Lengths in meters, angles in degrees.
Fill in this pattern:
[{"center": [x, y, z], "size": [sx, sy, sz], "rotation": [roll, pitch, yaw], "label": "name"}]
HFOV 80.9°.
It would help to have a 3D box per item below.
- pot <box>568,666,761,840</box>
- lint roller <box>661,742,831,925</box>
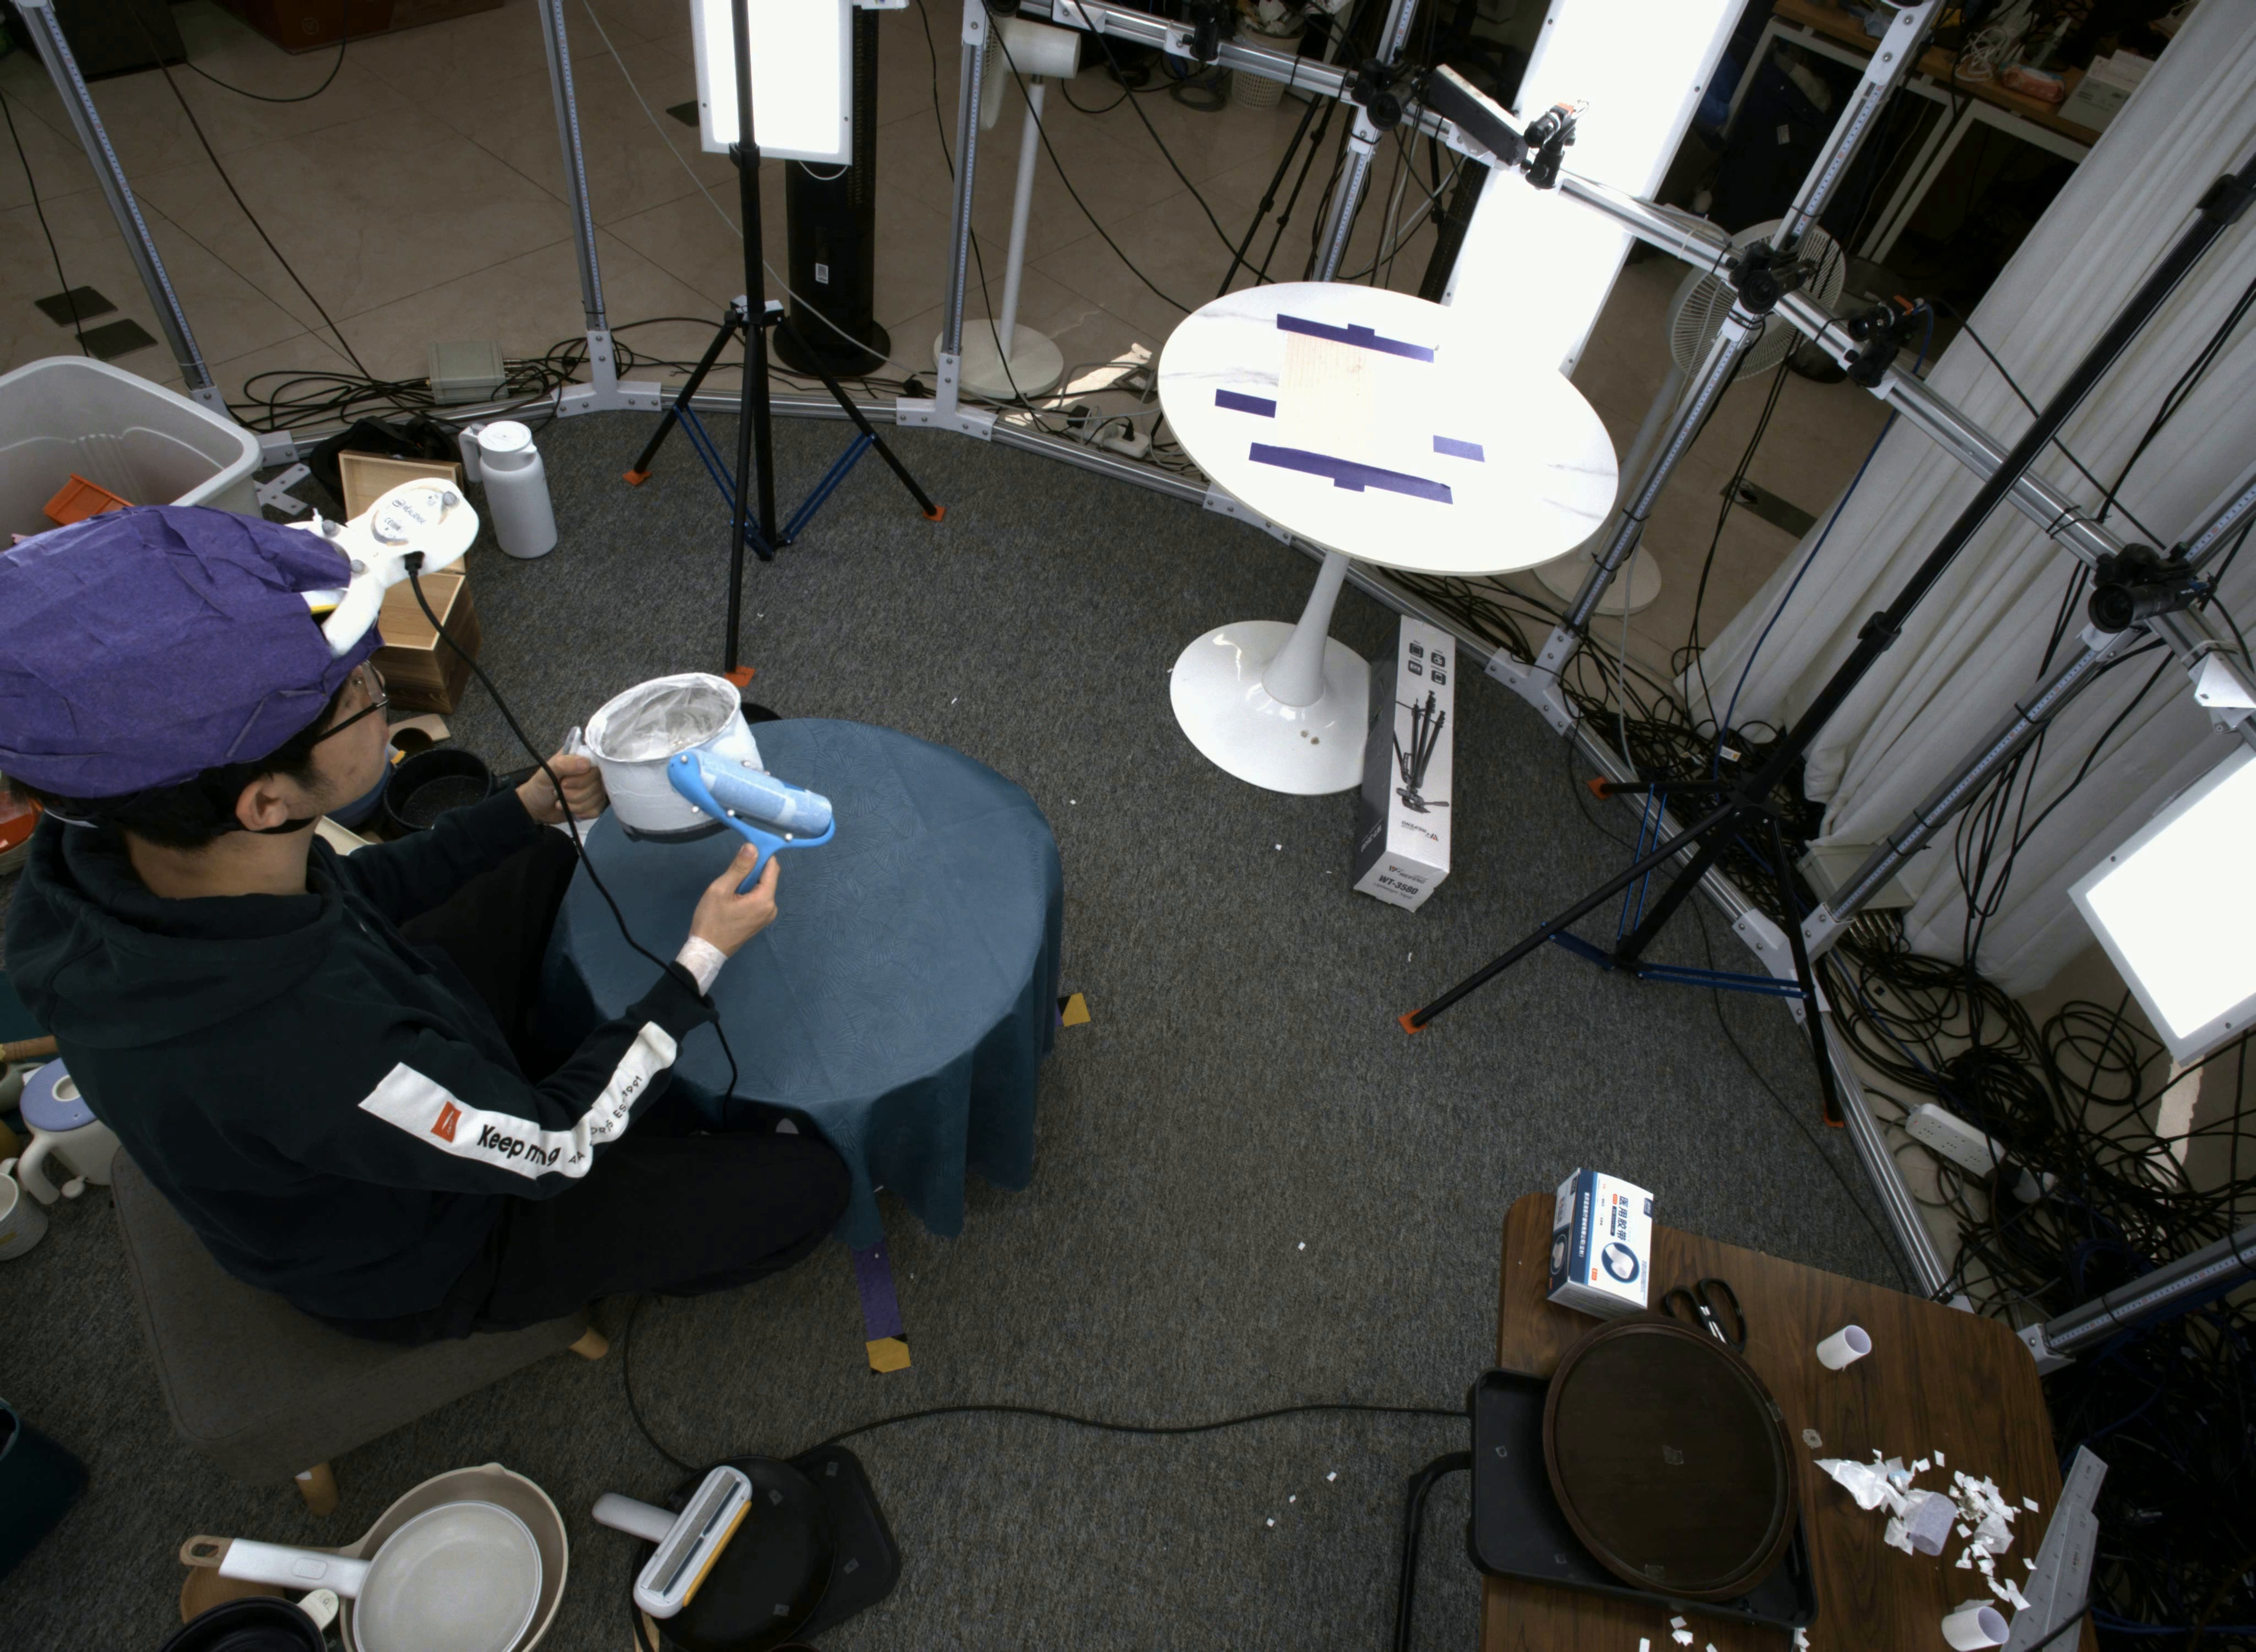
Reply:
[{"center": [-0.547, -0.077, 1.479], "size": [0.232, 0.141, 0.173], "rotation": [-10, 39, -7], "label": "pot"}, {"center": [-0.426, 0.017, 1.434], "size": [0.066, 0.235, 0.181], "rotation": [-3, 78, 31], "label": "lint roller"}]
